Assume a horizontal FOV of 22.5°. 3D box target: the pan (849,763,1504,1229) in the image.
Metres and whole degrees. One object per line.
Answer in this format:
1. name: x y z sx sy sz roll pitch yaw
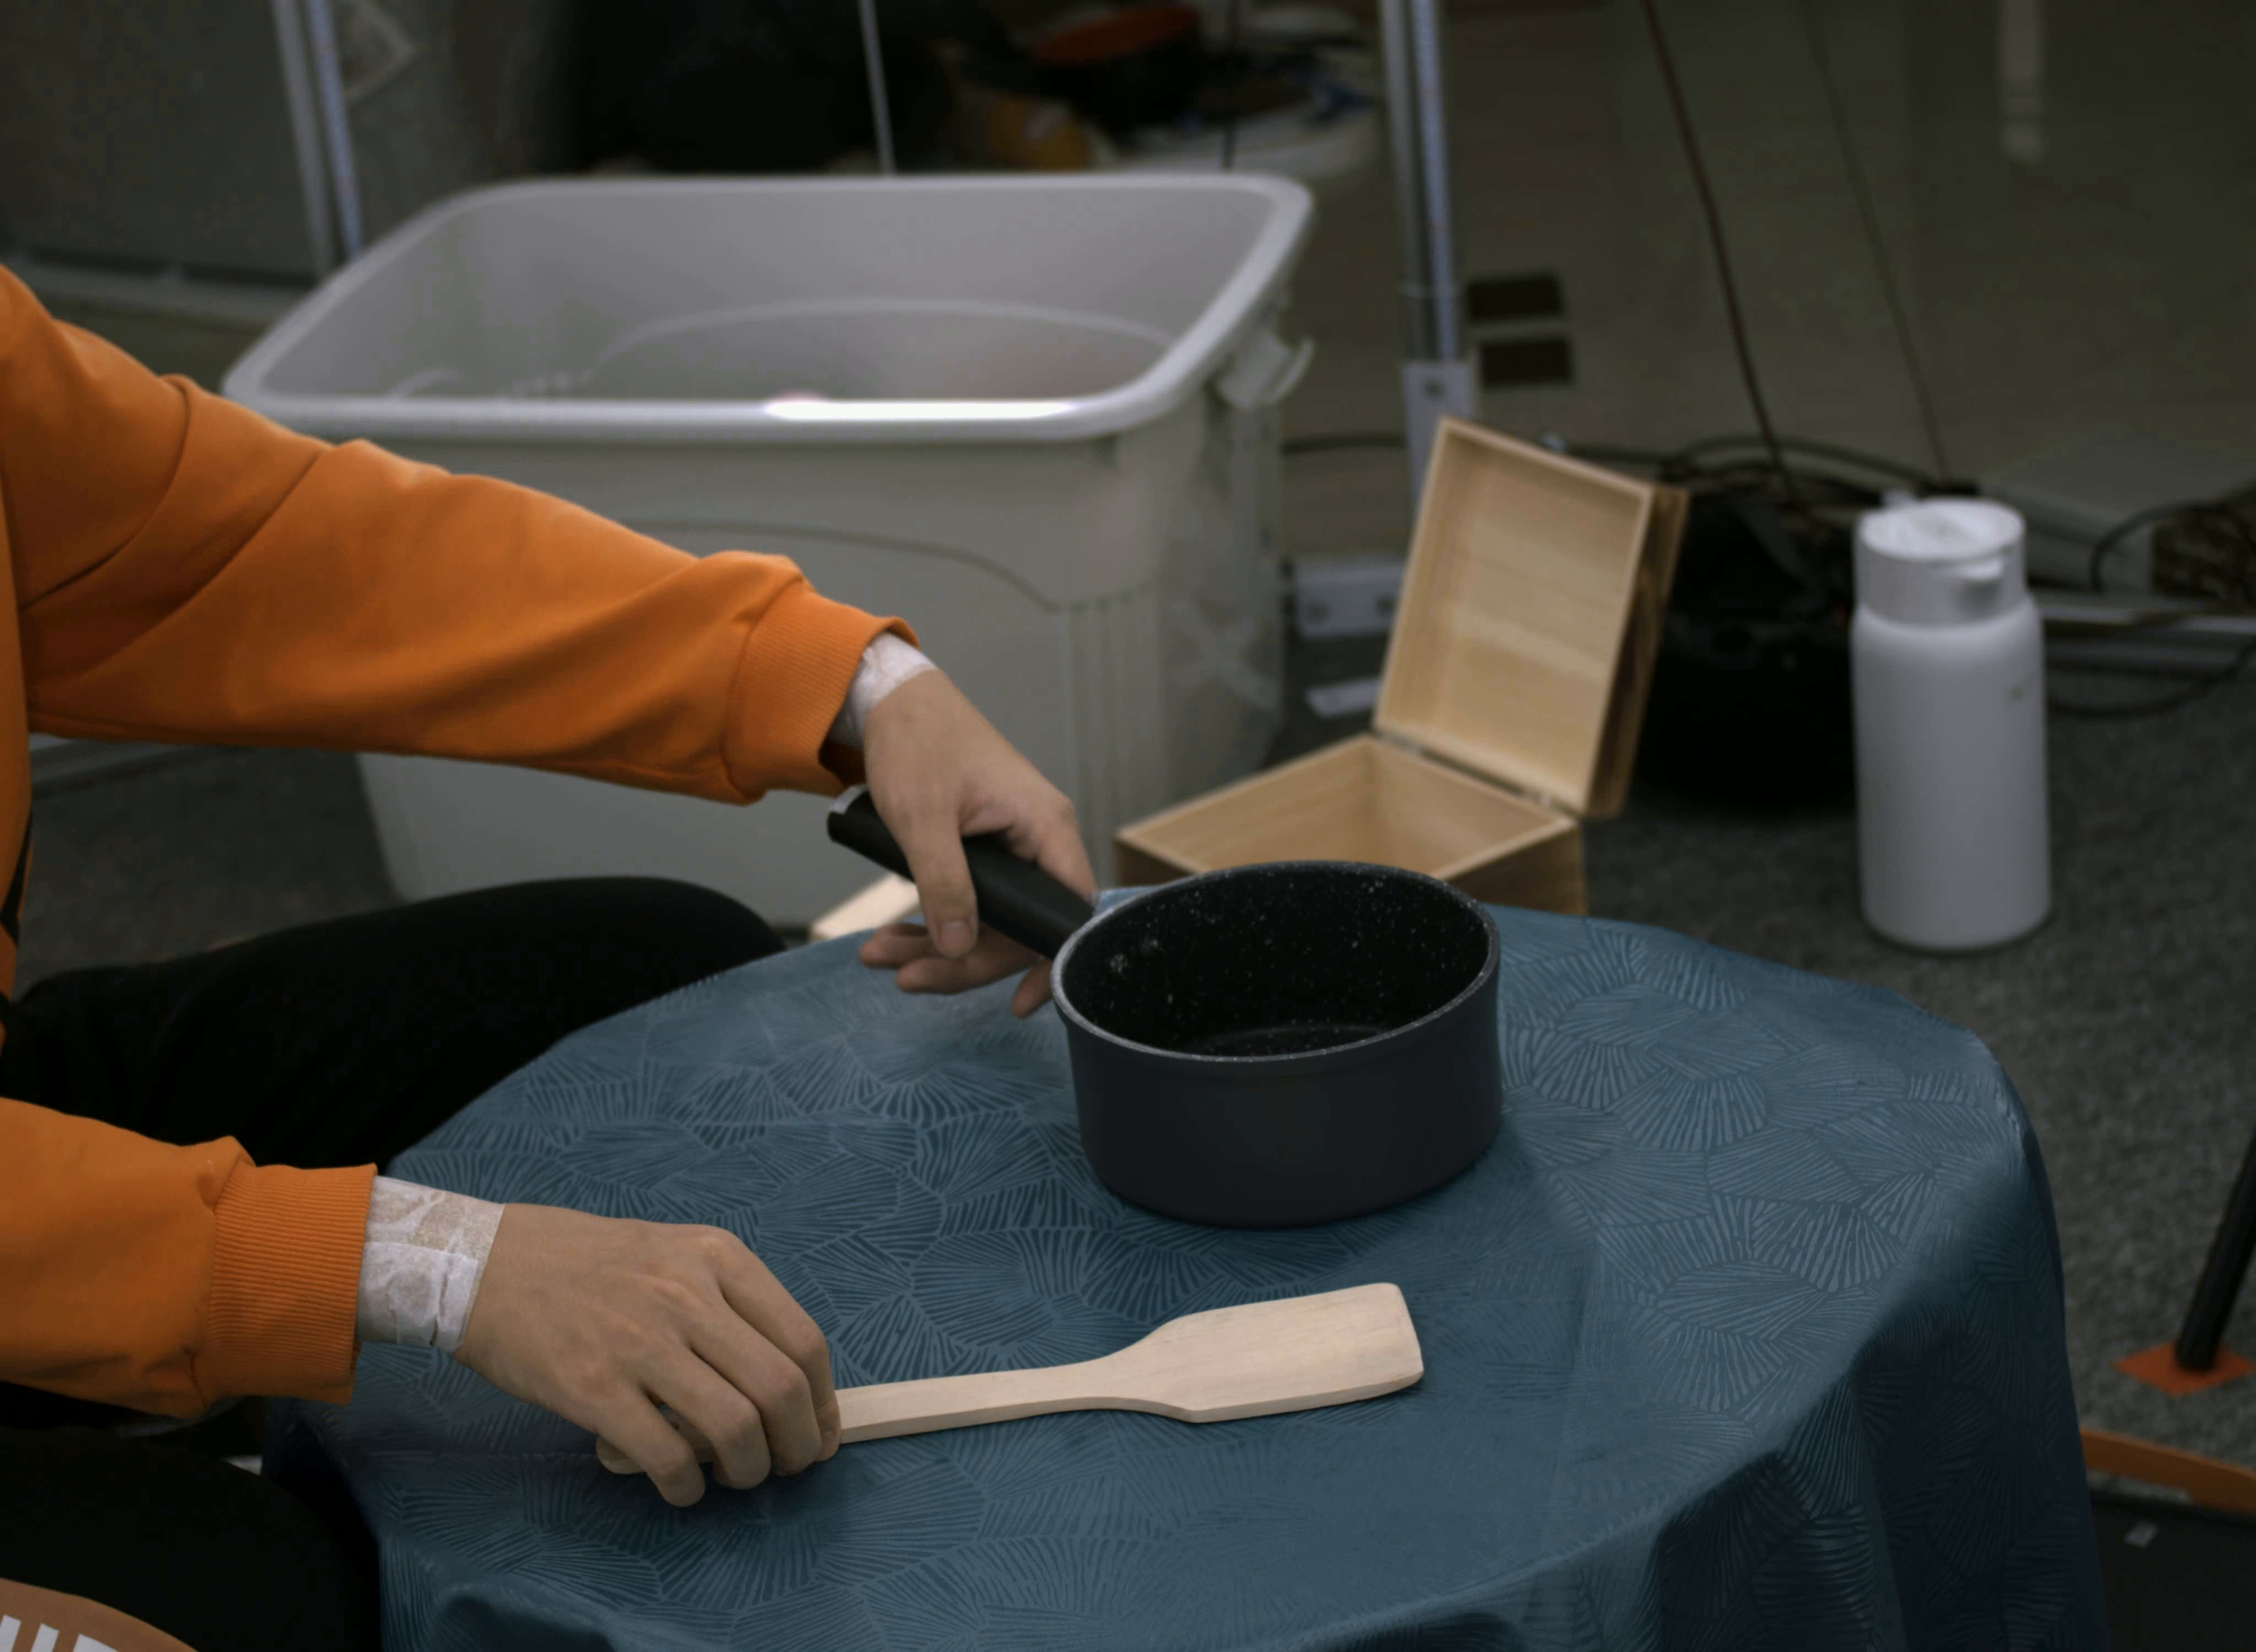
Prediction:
1. pan: 0.006 0.060 2.214 0.170 0.088 0.326 -25 32 -35

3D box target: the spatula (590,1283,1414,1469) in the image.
1. spatula: -0.045 0.201 2.013 0.292 0.011 0.071 -7 28 -3
